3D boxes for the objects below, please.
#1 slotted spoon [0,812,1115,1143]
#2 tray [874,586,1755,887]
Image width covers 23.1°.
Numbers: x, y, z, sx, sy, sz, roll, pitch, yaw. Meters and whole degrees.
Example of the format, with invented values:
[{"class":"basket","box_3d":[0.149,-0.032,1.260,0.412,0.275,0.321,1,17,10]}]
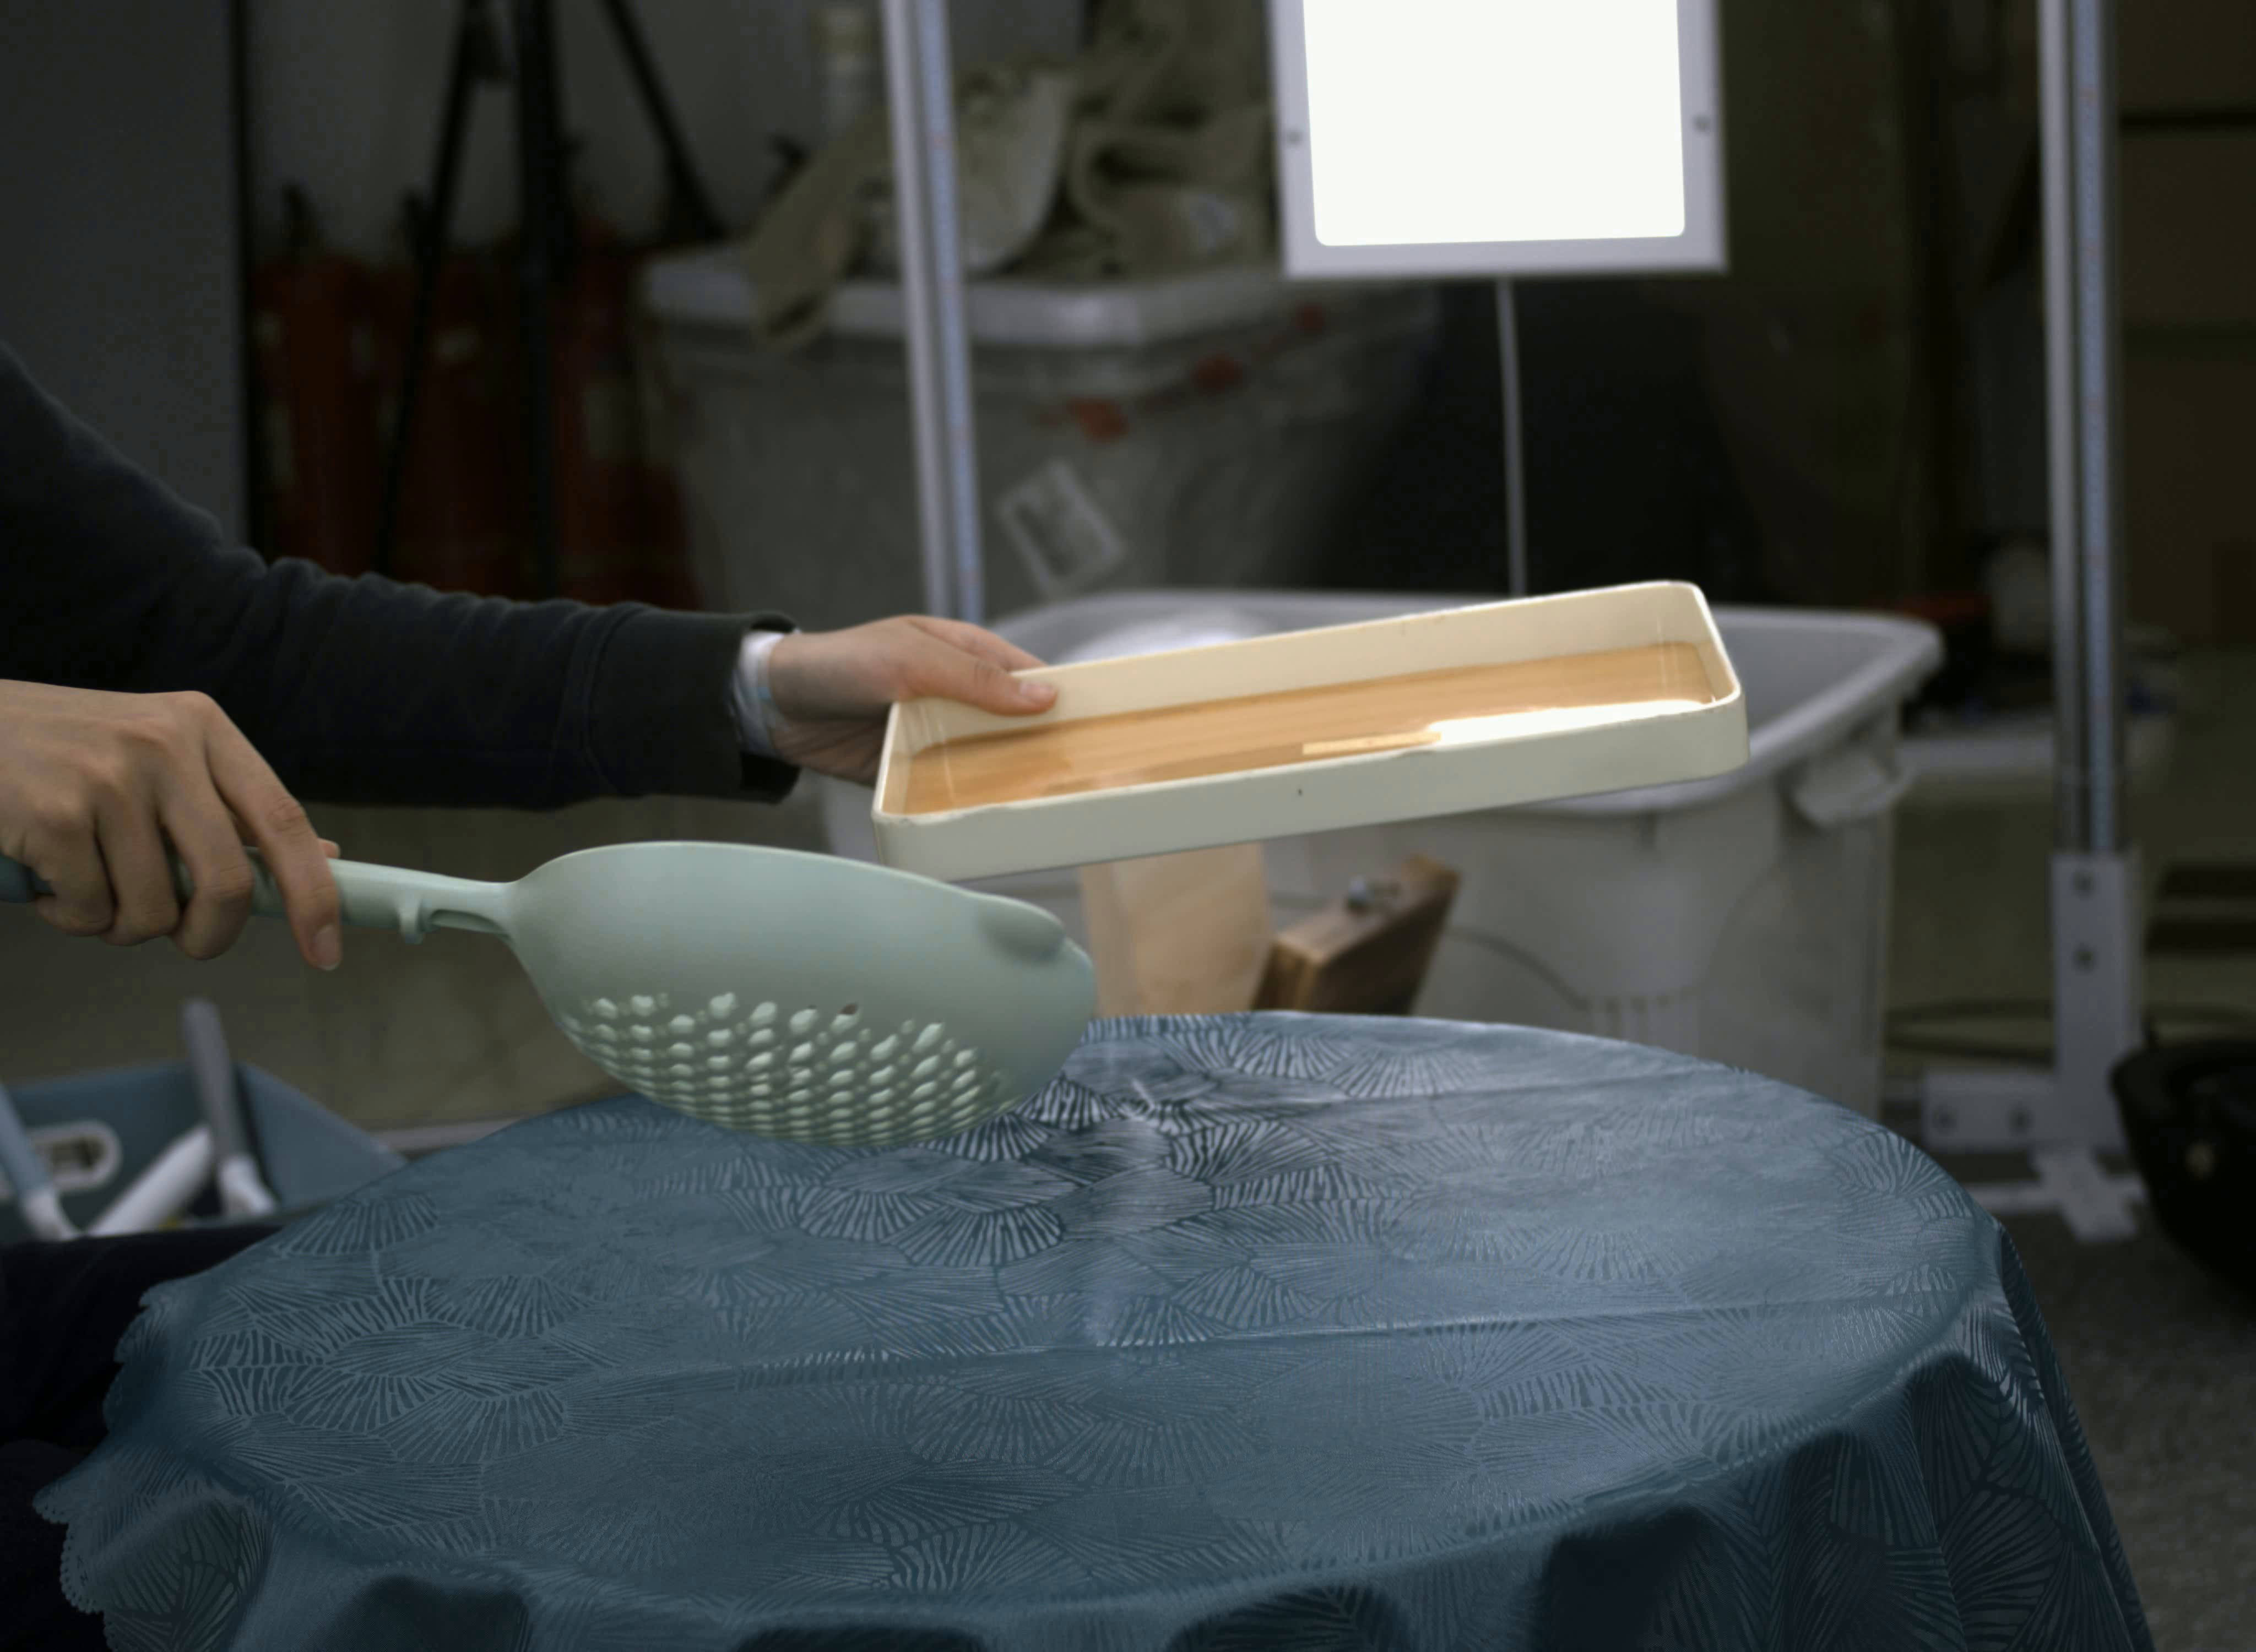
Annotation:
[{"class":"slotted spoon","box_3d":[-0.185,0.030,1.605,0.359,0.075,0.170,15,-18,5]},{"class":"tray","box_3d":[0.064,-0.033,1.931,0.301,0.027,0.191,-8,15,5]}]
